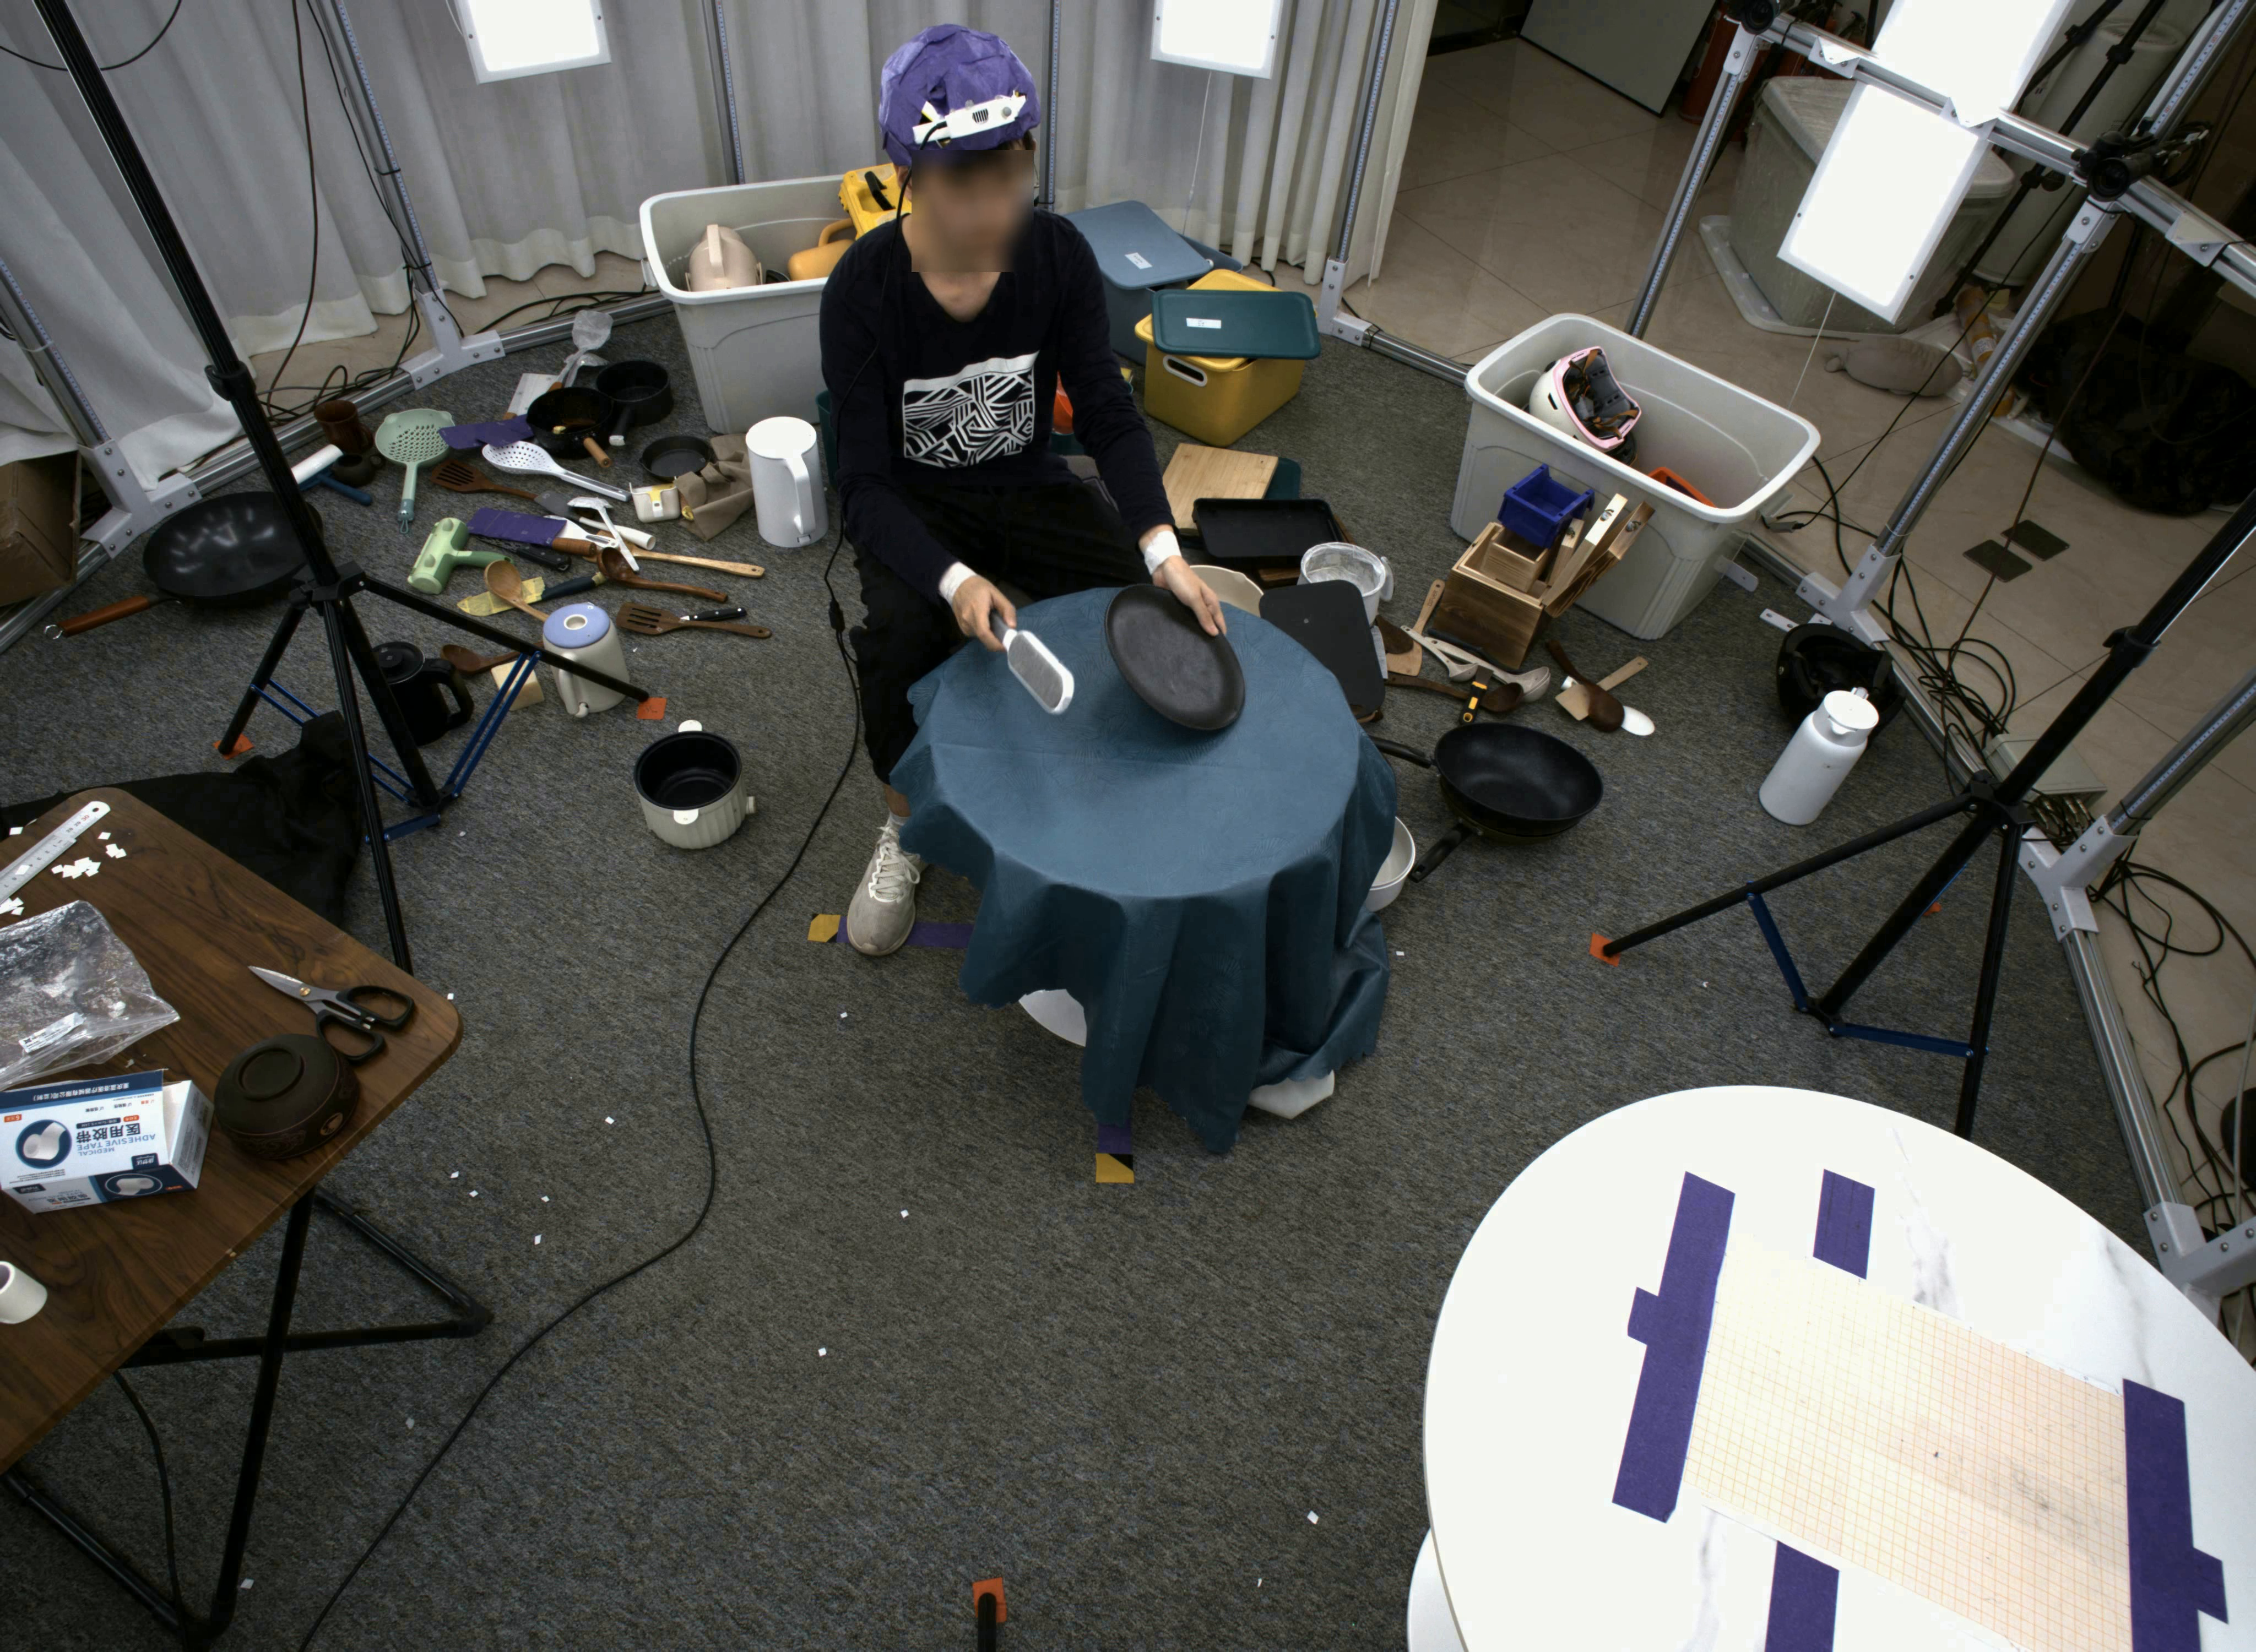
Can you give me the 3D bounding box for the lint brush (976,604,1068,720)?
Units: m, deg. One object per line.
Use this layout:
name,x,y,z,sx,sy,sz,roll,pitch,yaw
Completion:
lint brush,-0.148,-0.232,1.740,0.021,0.059,0.316,4,29,-31

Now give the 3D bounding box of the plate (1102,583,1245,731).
plate,0.061,-0.234,1.802,0.242,0.023,0.250,19,51,-26
